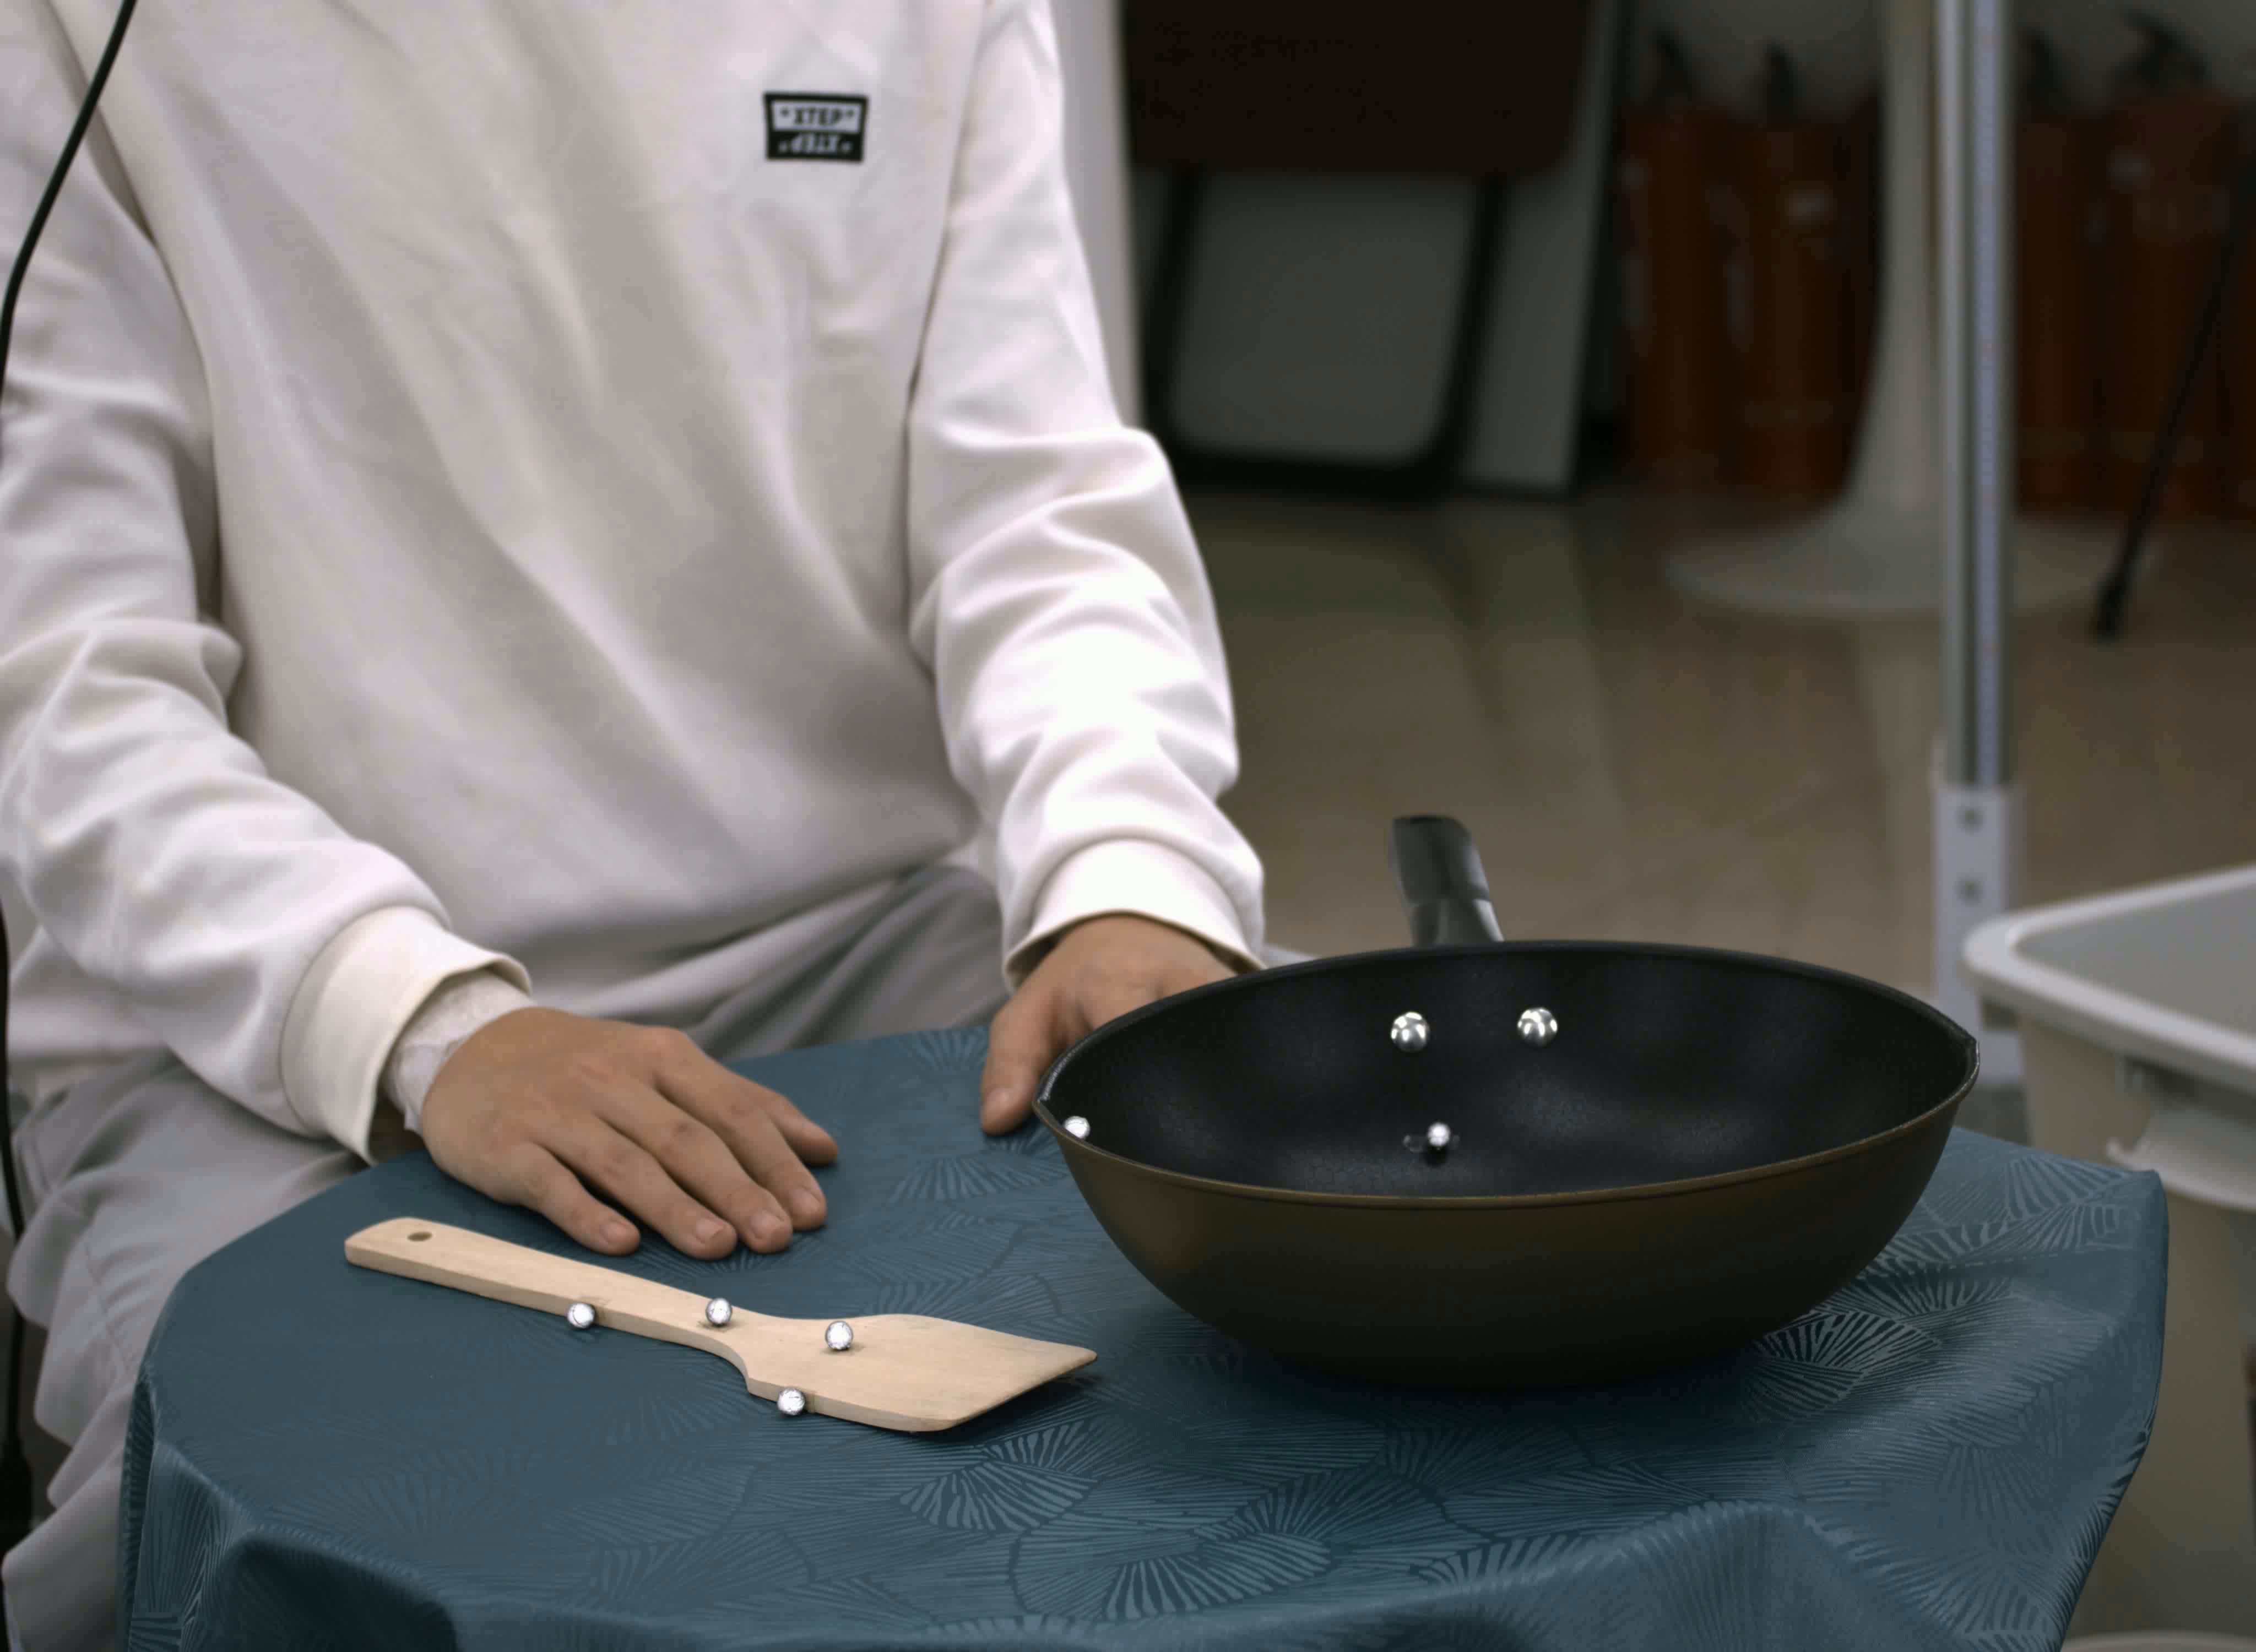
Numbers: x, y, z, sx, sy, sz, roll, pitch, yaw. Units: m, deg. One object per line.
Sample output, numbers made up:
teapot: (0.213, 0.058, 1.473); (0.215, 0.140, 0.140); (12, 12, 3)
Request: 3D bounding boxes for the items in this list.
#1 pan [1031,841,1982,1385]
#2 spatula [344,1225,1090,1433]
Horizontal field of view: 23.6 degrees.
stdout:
pan: (0.113, 0.088, 1.707); (0.284, 0.088, 0.464); (-4, 11, 0)
spatula: (-0.140, 0.152, 1.669); (0.295, 0.011, 0.071); (8, 19, 41)
